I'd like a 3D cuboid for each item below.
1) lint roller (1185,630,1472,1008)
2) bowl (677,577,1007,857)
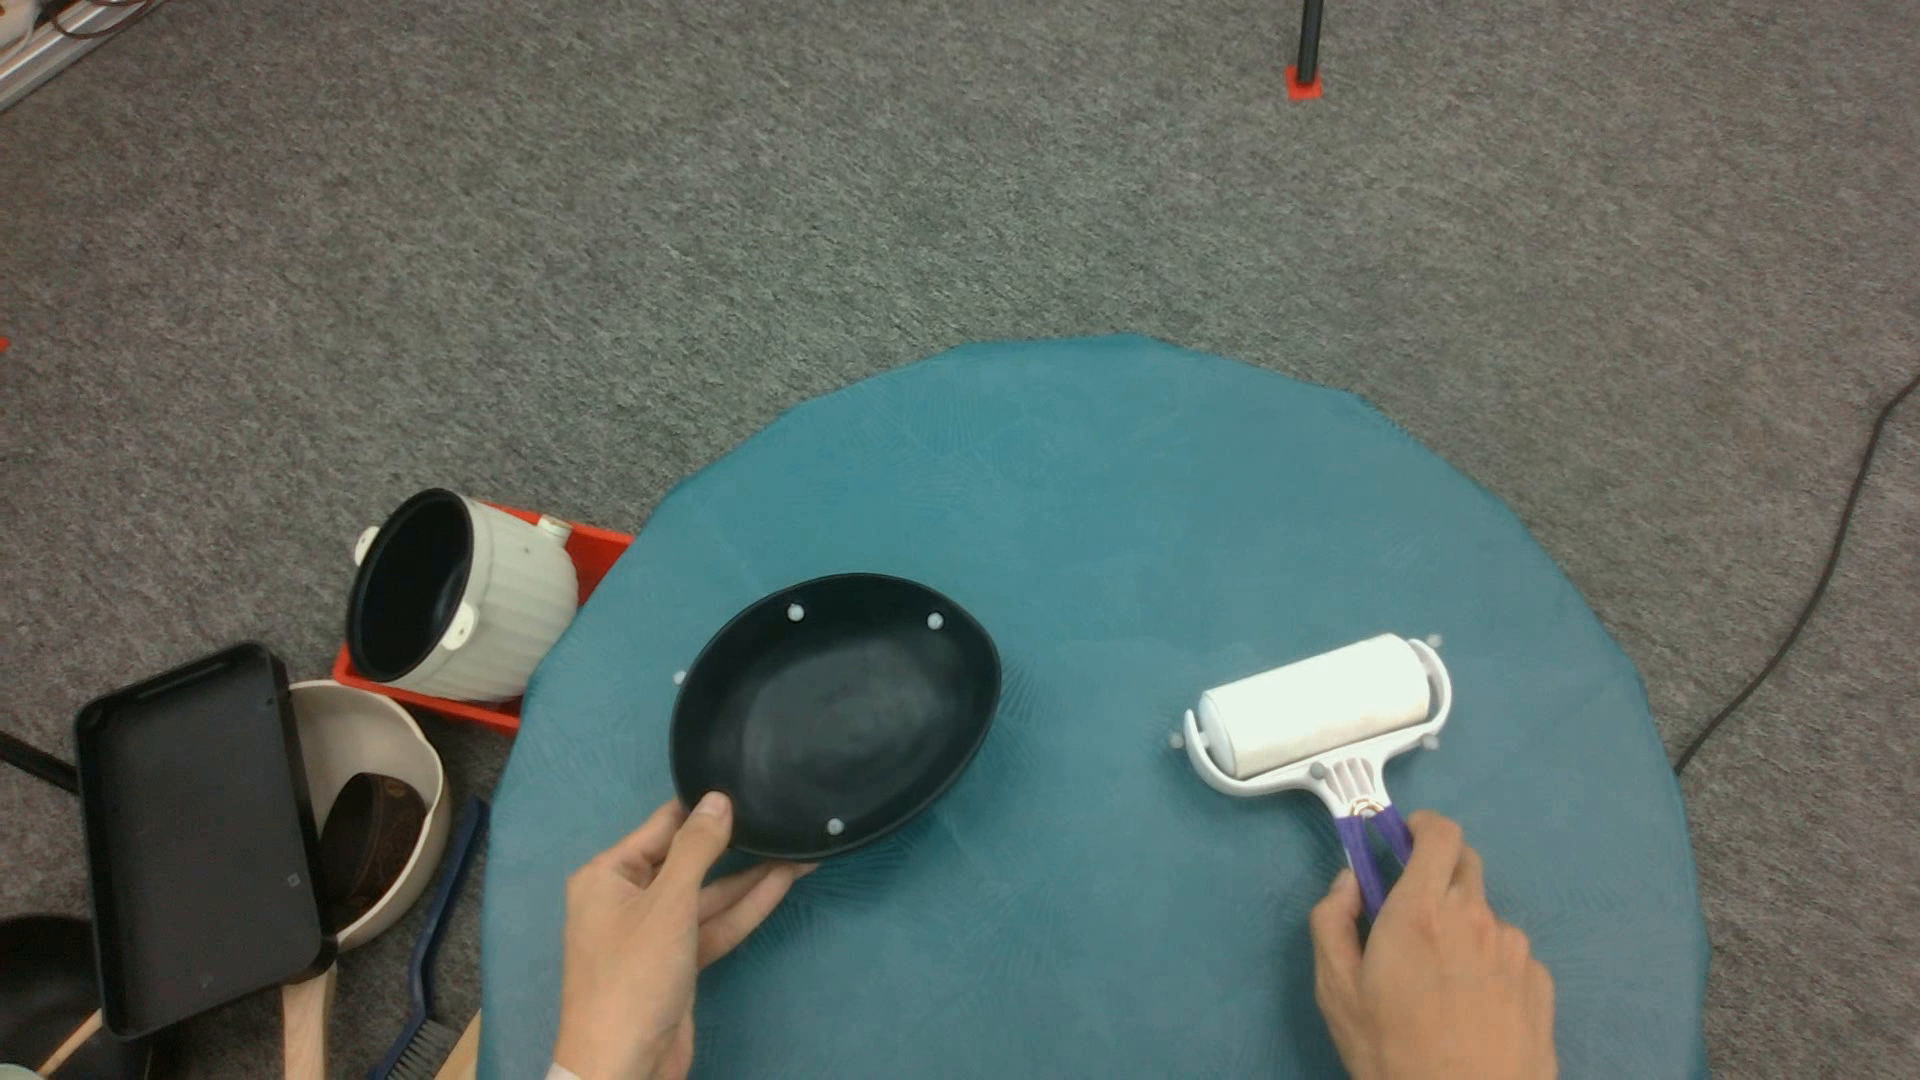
[{"bbox_3d":[0.195,0.133,0.661,0.133,0.050,0.181,-16,52,-3],"label":"lint roller"},{"bbox_3d":[-0.058,0.093,0.703,0.170,0.066,0.137,-29,66,-11],"label":"bowl"}]
